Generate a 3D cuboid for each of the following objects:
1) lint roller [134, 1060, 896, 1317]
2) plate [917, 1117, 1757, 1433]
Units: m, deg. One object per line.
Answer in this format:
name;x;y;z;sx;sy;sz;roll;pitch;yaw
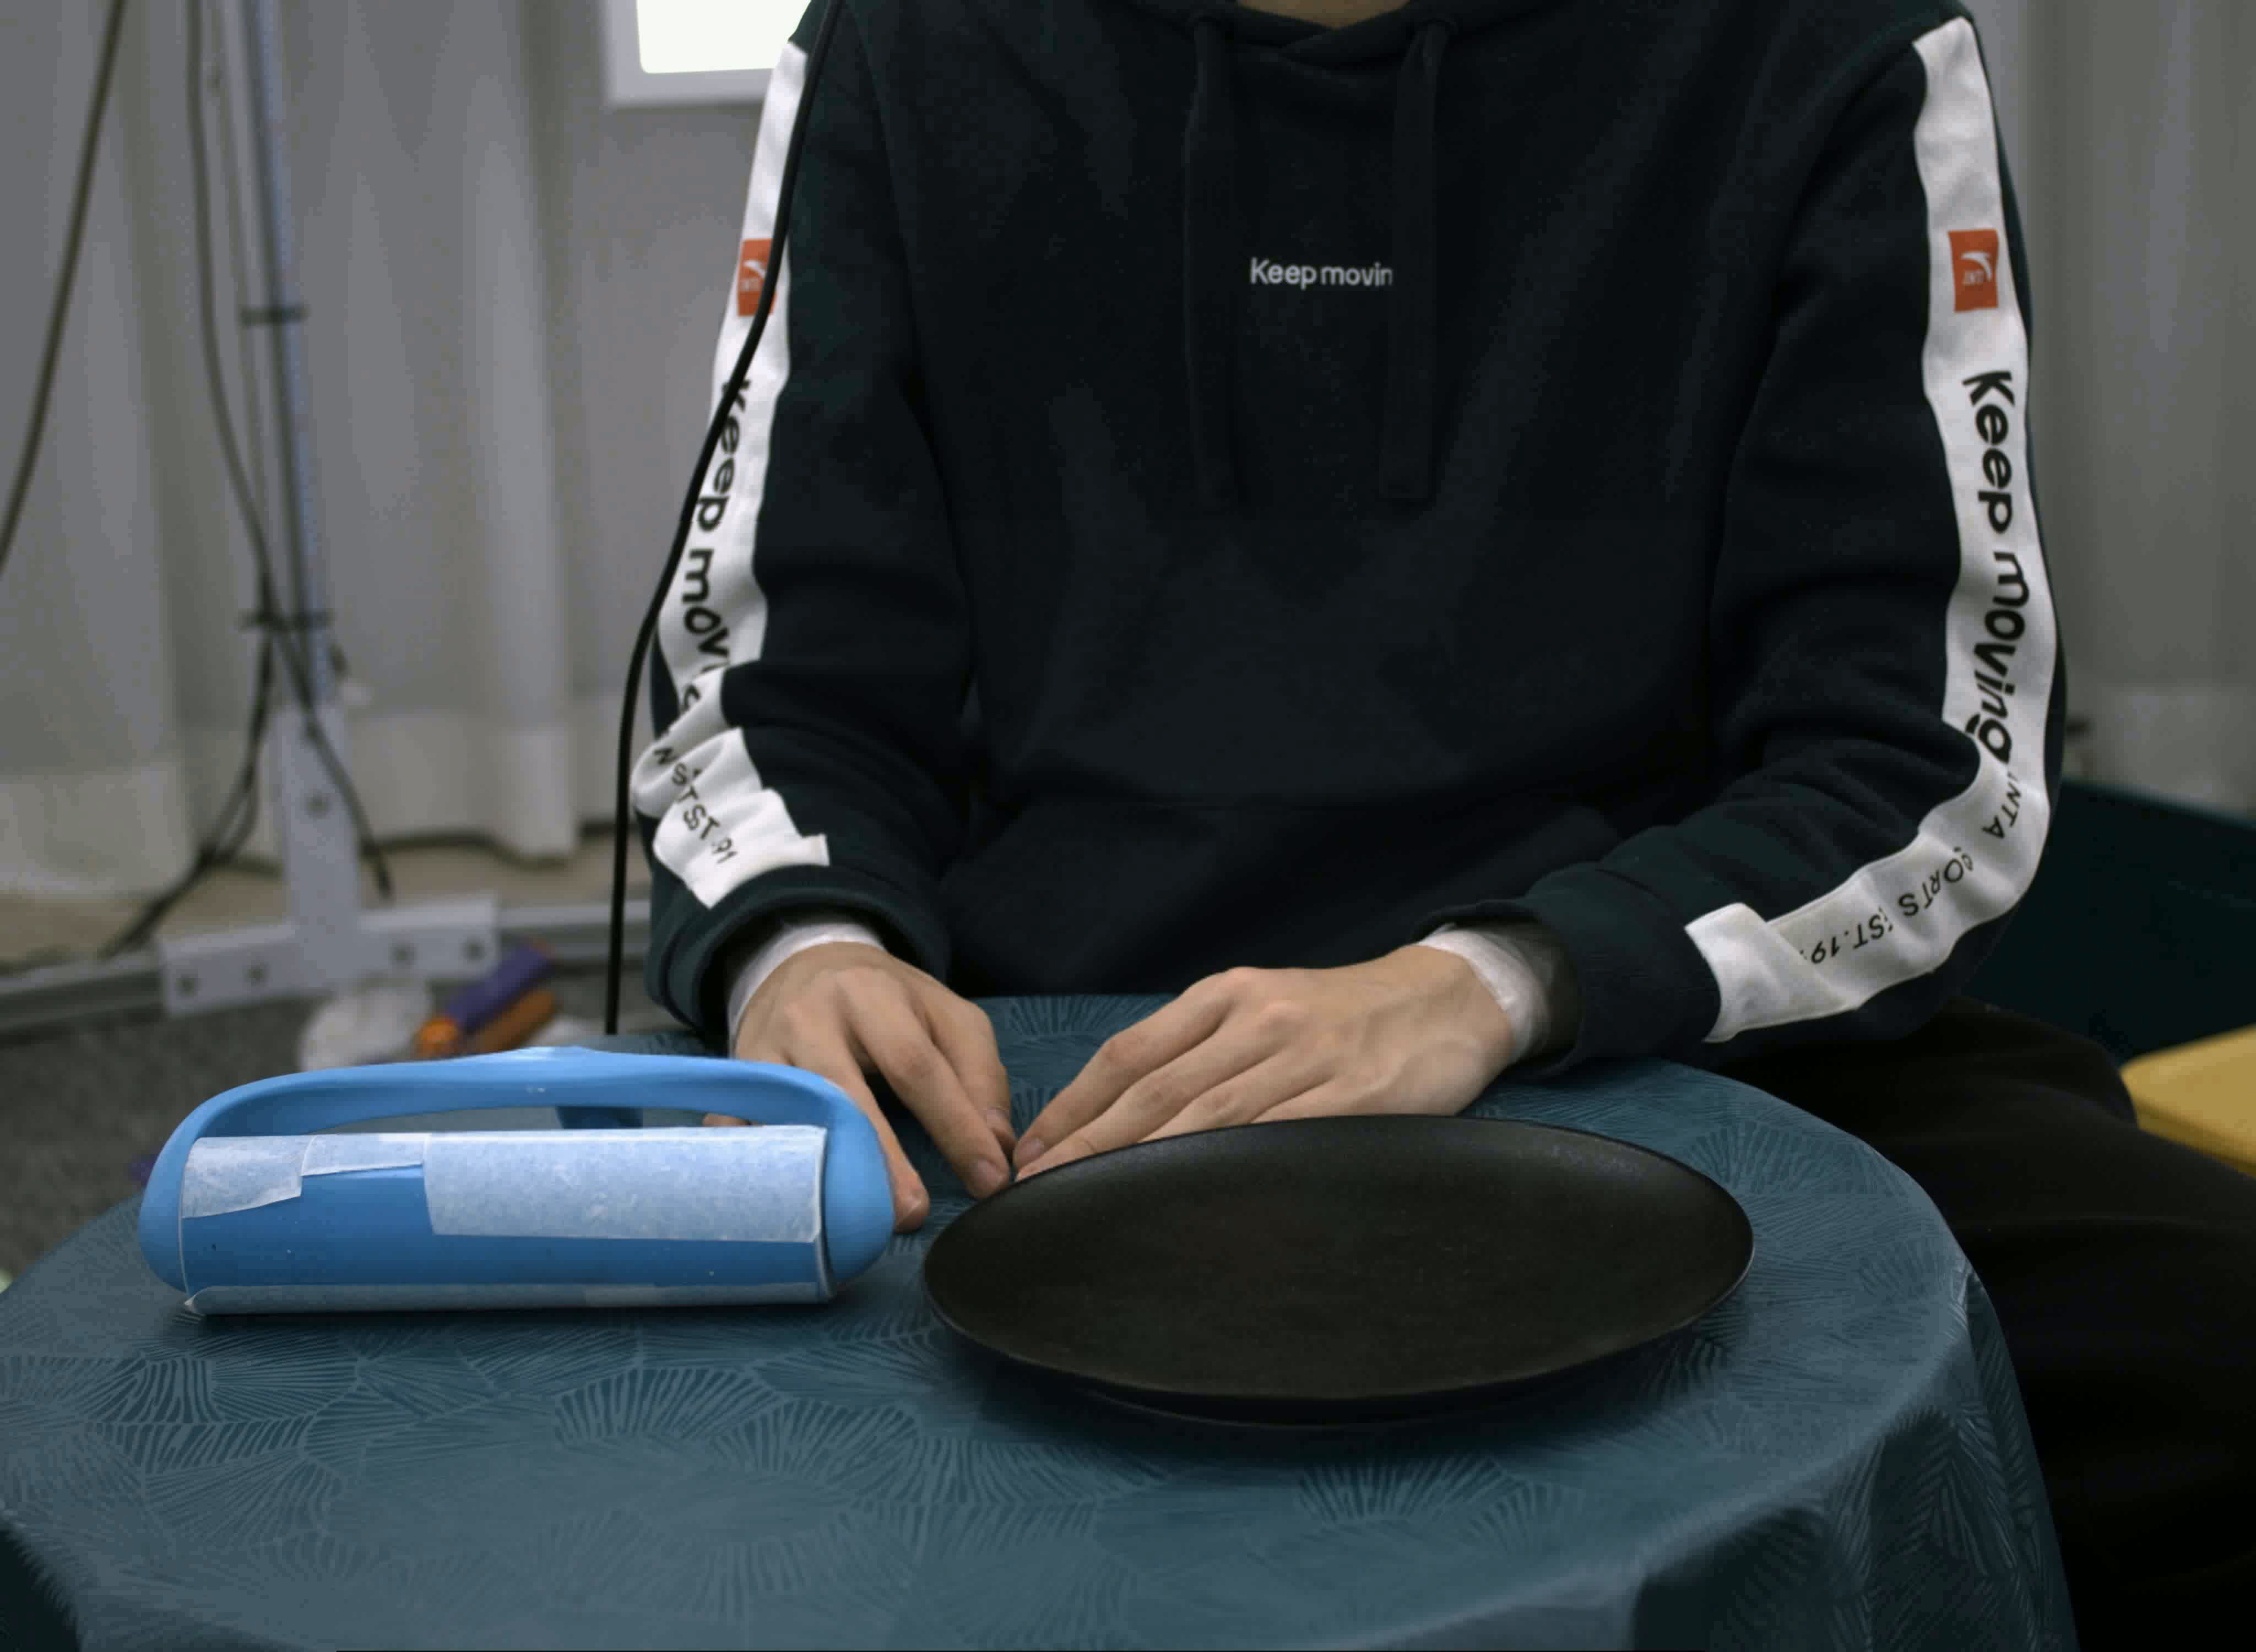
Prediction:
lint roller;-0.181;0.102;1.690;0.228;0.067;0.181;-3;14;3
plate;0.061;0.133;1.590;0.243;0.023;0.246;-3;15;0
